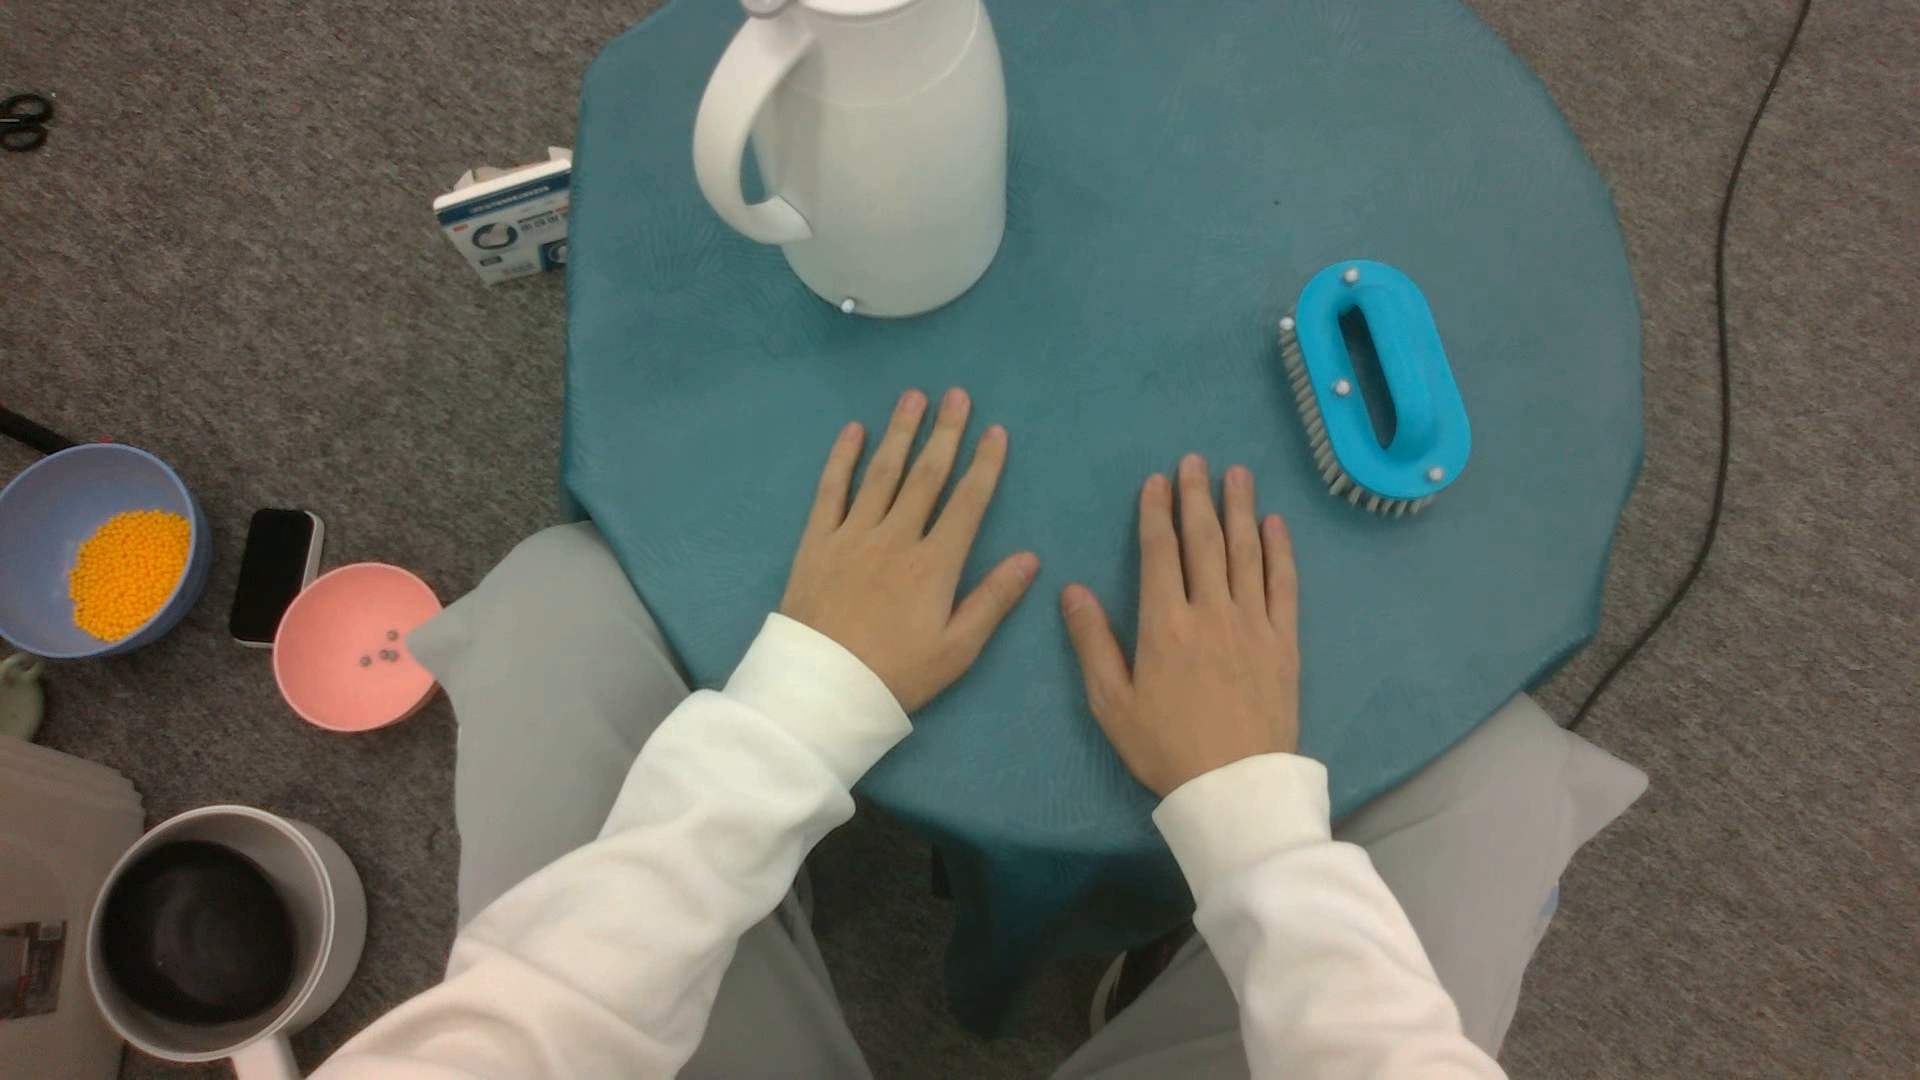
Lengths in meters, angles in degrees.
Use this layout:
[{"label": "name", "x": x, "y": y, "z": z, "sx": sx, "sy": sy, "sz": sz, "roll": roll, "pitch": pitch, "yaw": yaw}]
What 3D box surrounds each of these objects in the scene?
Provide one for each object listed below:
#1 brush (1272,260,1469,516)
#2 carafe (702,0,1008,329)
[{"label": "brush", "x": 0.225, "y": -0.089, "z": 0.737, "sx": 0.084, "sy": 0.063, "sz": 0.142, "roll": -11, "pitch": 75, "yaw": -6}, {"label": "carafe", "x": -0.054, "y": -0.202, "z": 0.680, "sx": 0.132, "sy": 0.248, "sz": 0.168, "roll": 39, "pitch": 79, "yaw": 11}]
